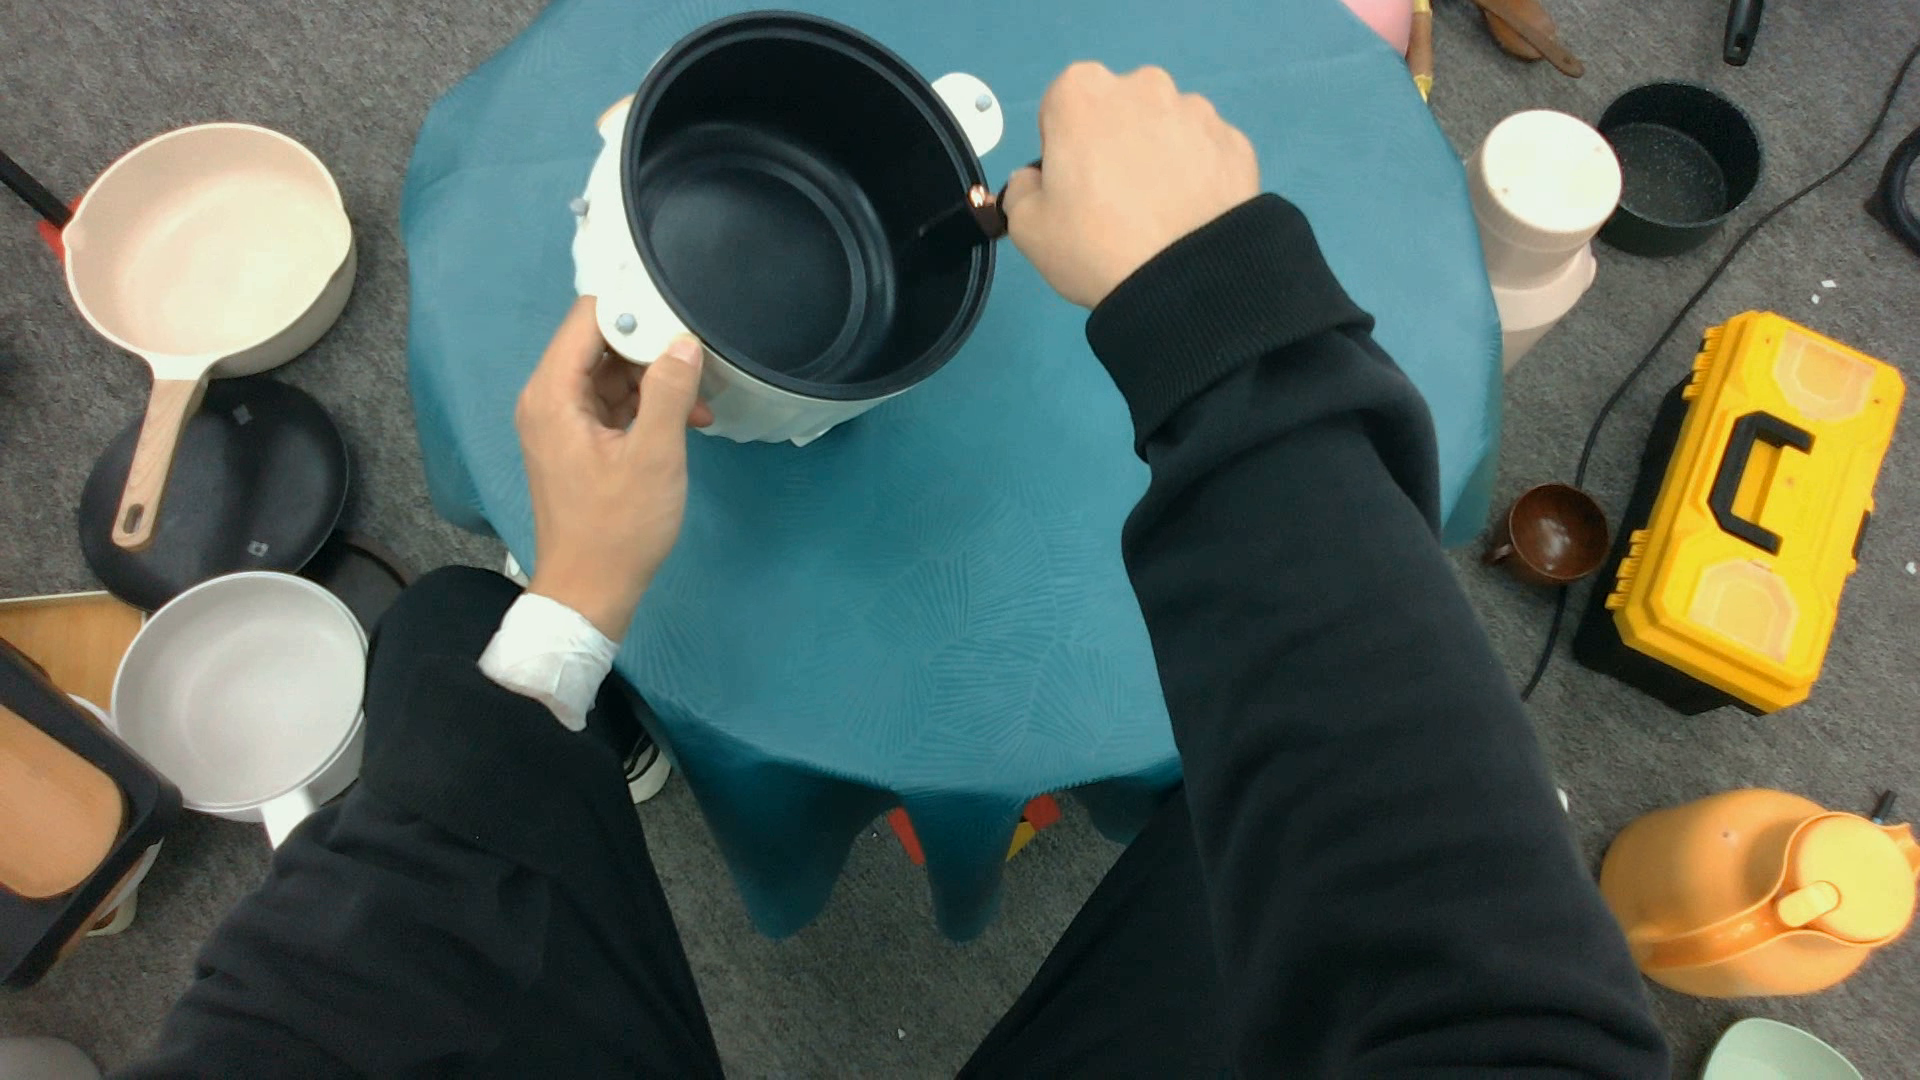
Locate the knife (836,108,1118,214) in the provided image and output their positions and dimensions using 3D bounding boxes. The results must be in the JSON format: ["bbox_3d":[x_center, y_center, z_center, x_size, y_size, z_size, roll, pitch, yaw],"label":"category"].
[{"bbox_3d":[-0.002,-0.163,0.617,0.026,0.225,0.017,19,84,-29],"label":"knife"}]

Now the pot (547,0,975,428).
[{"bbox_3d":[-0.109,-0.151,0.672,0.241,0.142,0.190,-43,106,-31],"label":"pot"}]
